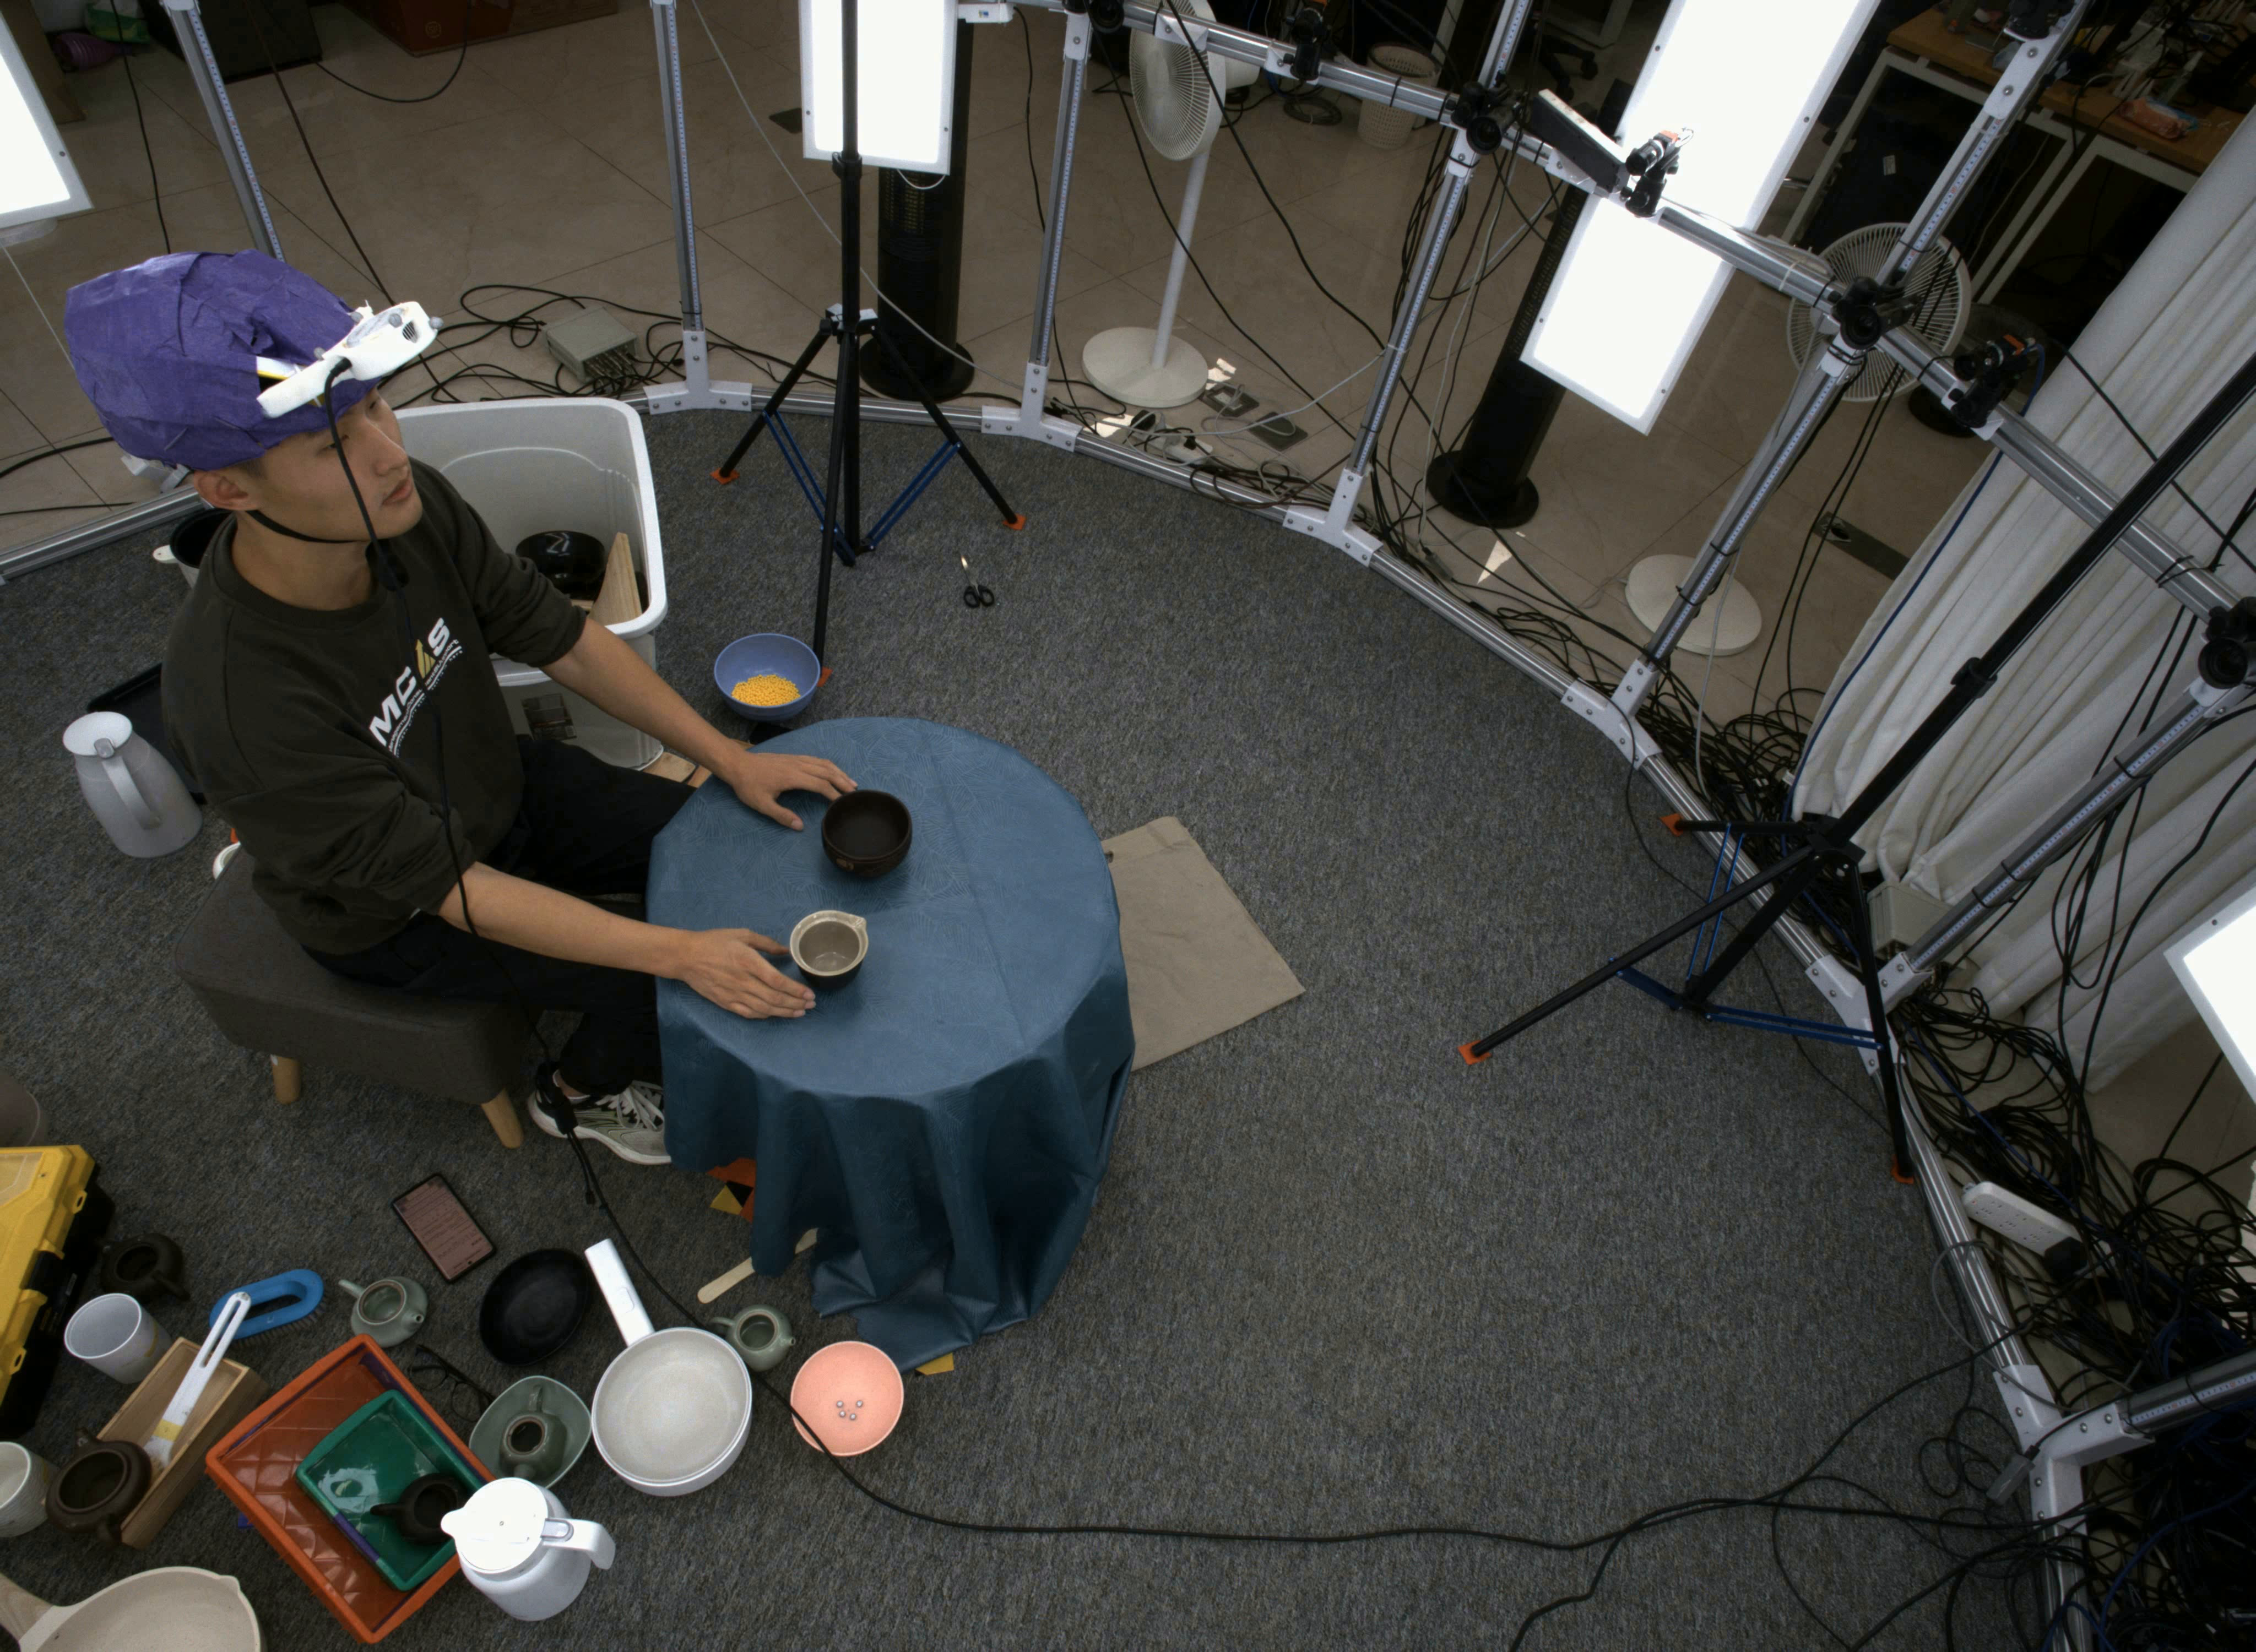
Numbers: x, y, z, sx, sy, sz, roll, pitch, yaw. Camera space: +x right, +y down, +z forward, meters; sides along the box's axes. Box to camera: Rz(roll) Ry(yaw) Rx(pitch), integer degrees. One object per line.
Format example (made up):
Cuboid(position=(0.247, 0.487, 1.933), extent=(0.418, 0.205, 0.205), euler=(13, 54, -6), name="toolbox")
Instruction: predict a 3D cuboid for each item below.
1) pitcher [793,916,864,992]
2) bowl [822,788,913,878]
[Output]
Cuboid(position=(-0.361, 0.157, 1.585), extent=(0.096, 0.073, 0.081), euler=(-32, 63, -29), name="pitcher")
Cuboid(position=(-0.340, 0.016, 1.697), extent=(0.118, 0.071, 0.116), euler=(8, 53, -9), name="bowl")
